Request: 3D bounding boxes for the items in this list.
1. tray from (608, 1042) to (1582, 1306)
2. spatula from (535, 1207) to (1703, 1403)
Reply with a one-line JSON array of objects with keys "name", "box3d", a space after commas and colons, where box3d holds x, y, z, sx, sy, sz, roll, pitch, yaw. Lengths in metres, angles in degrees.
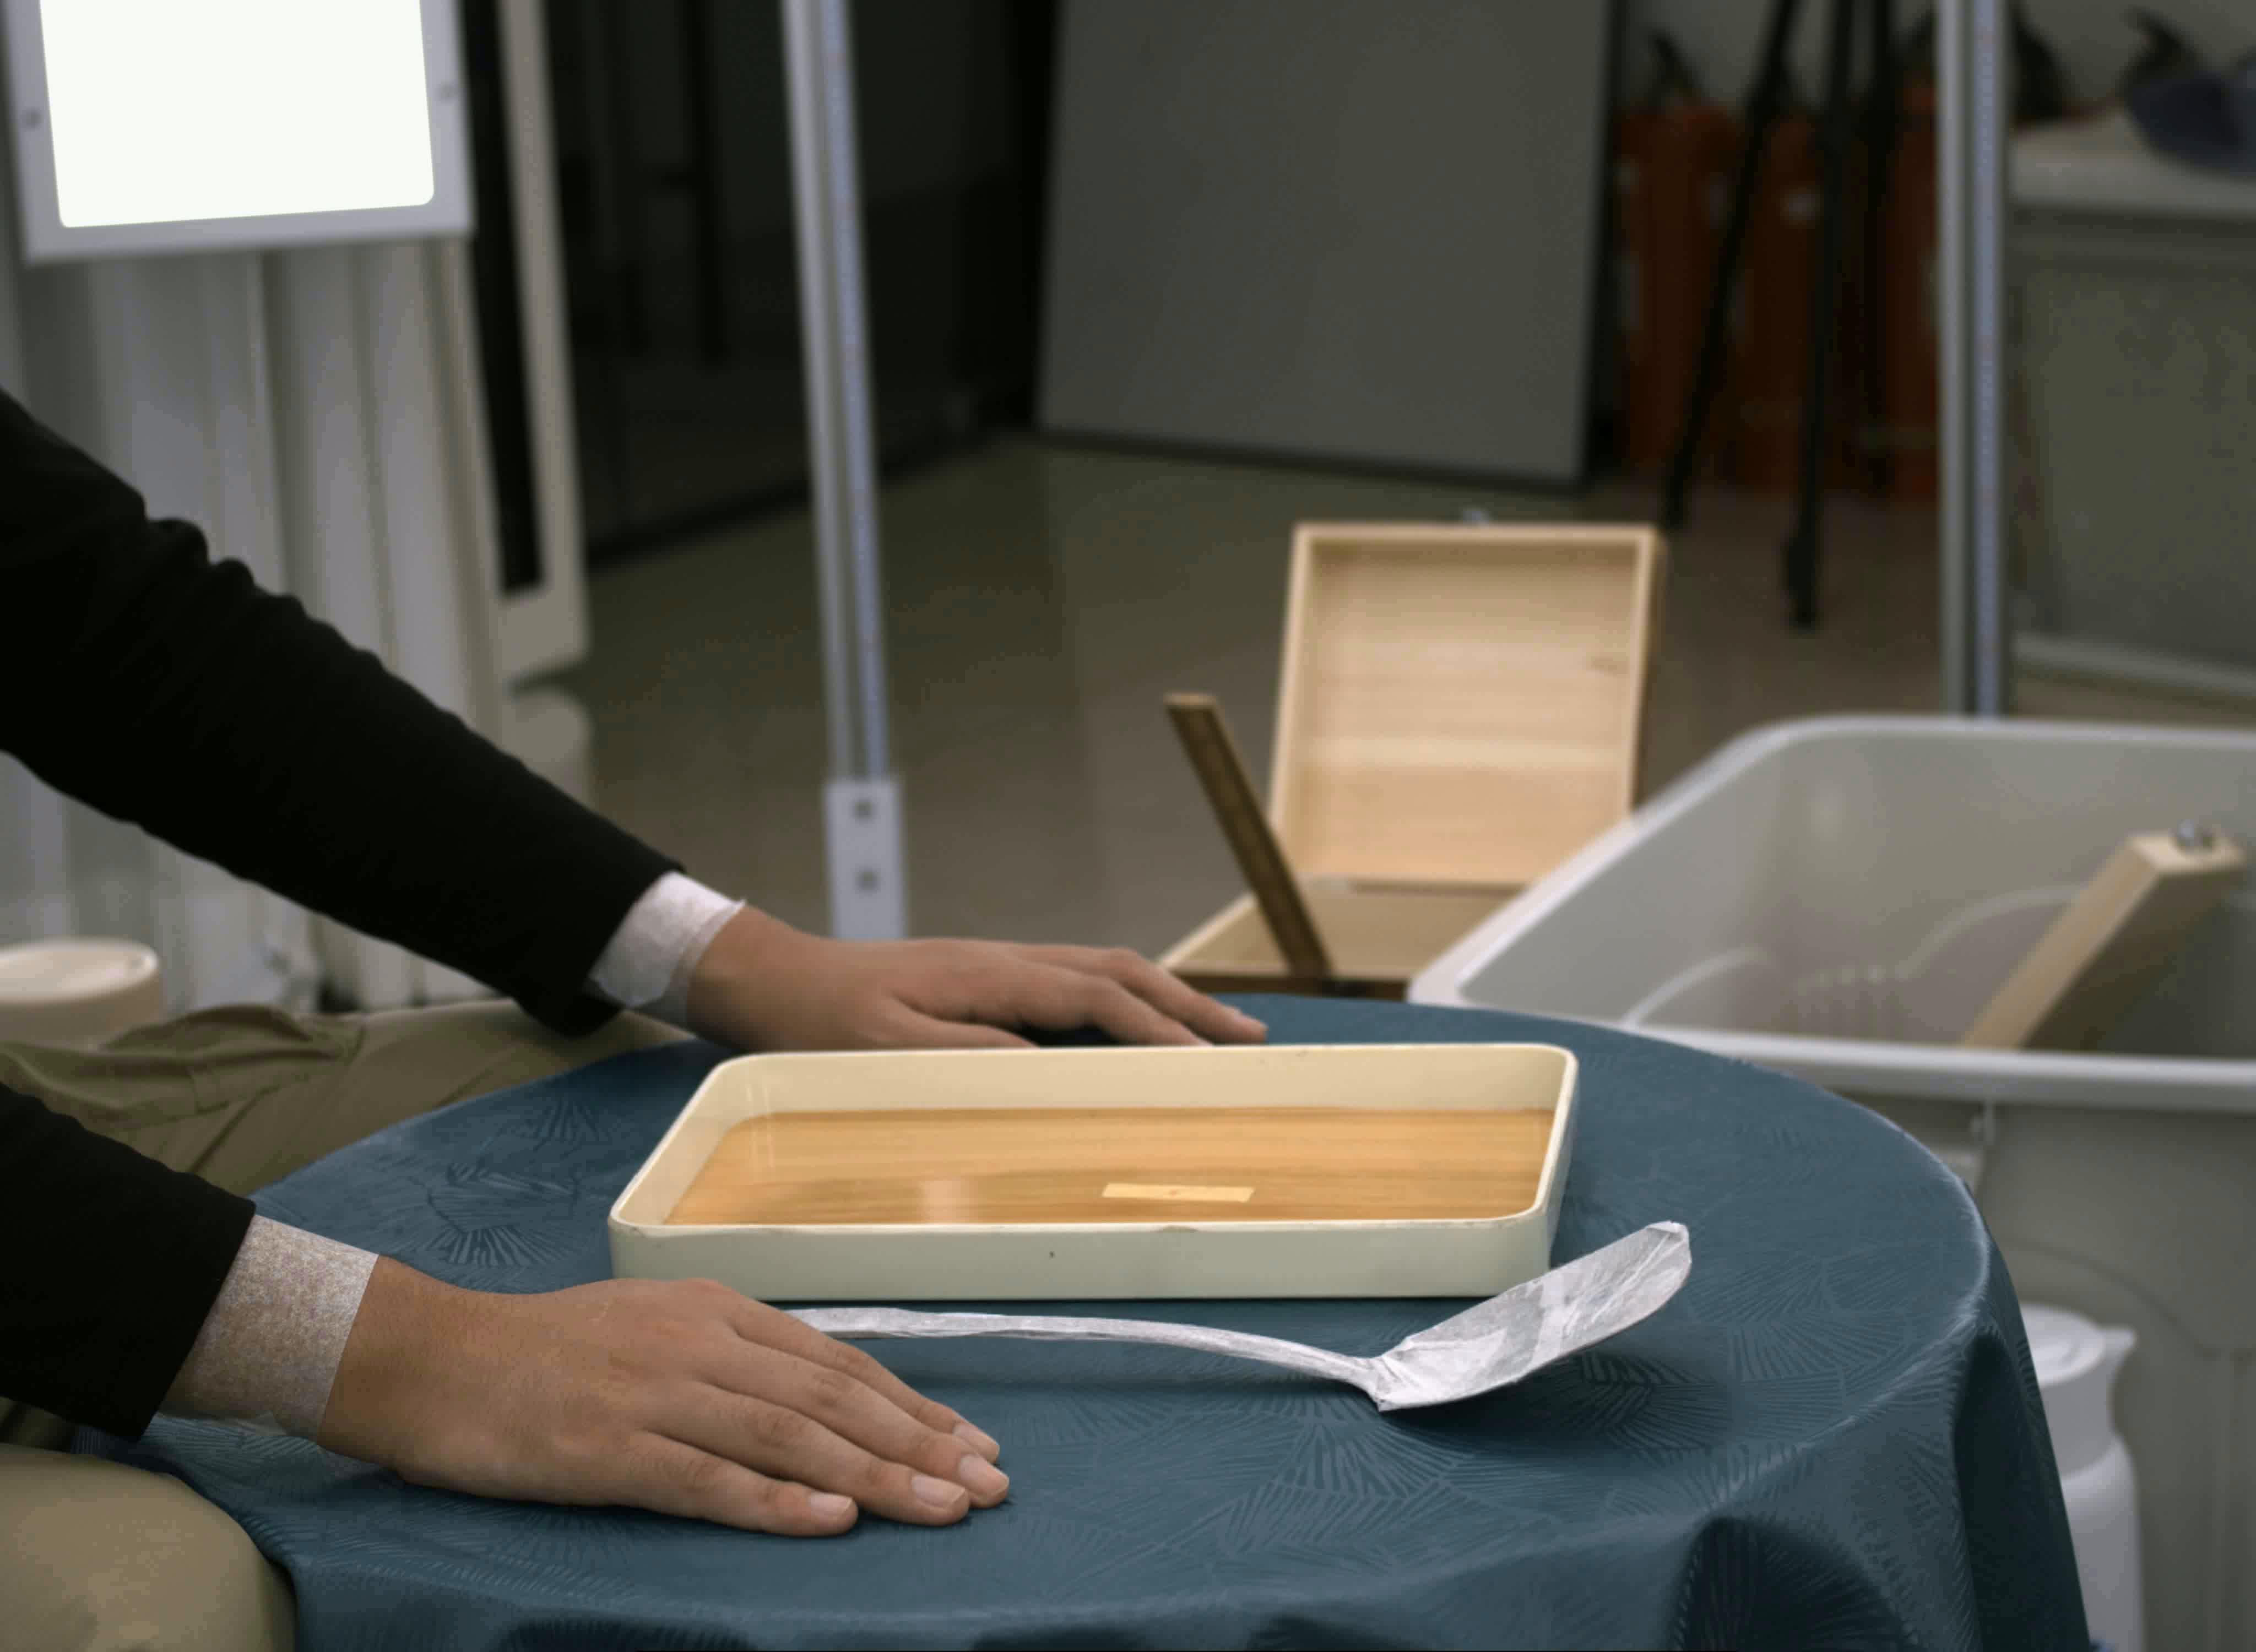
[{"name": "tray", "box3d": [-0.006, 0.112, 1.751, 0.298, 0.028, 0.191, -2, 14, 11]}, {"name": "spatula", "box3d": [-0.010, 0.145, 1.595, 0.363, 0.045, 0.098, -1, 15, 15]}]
